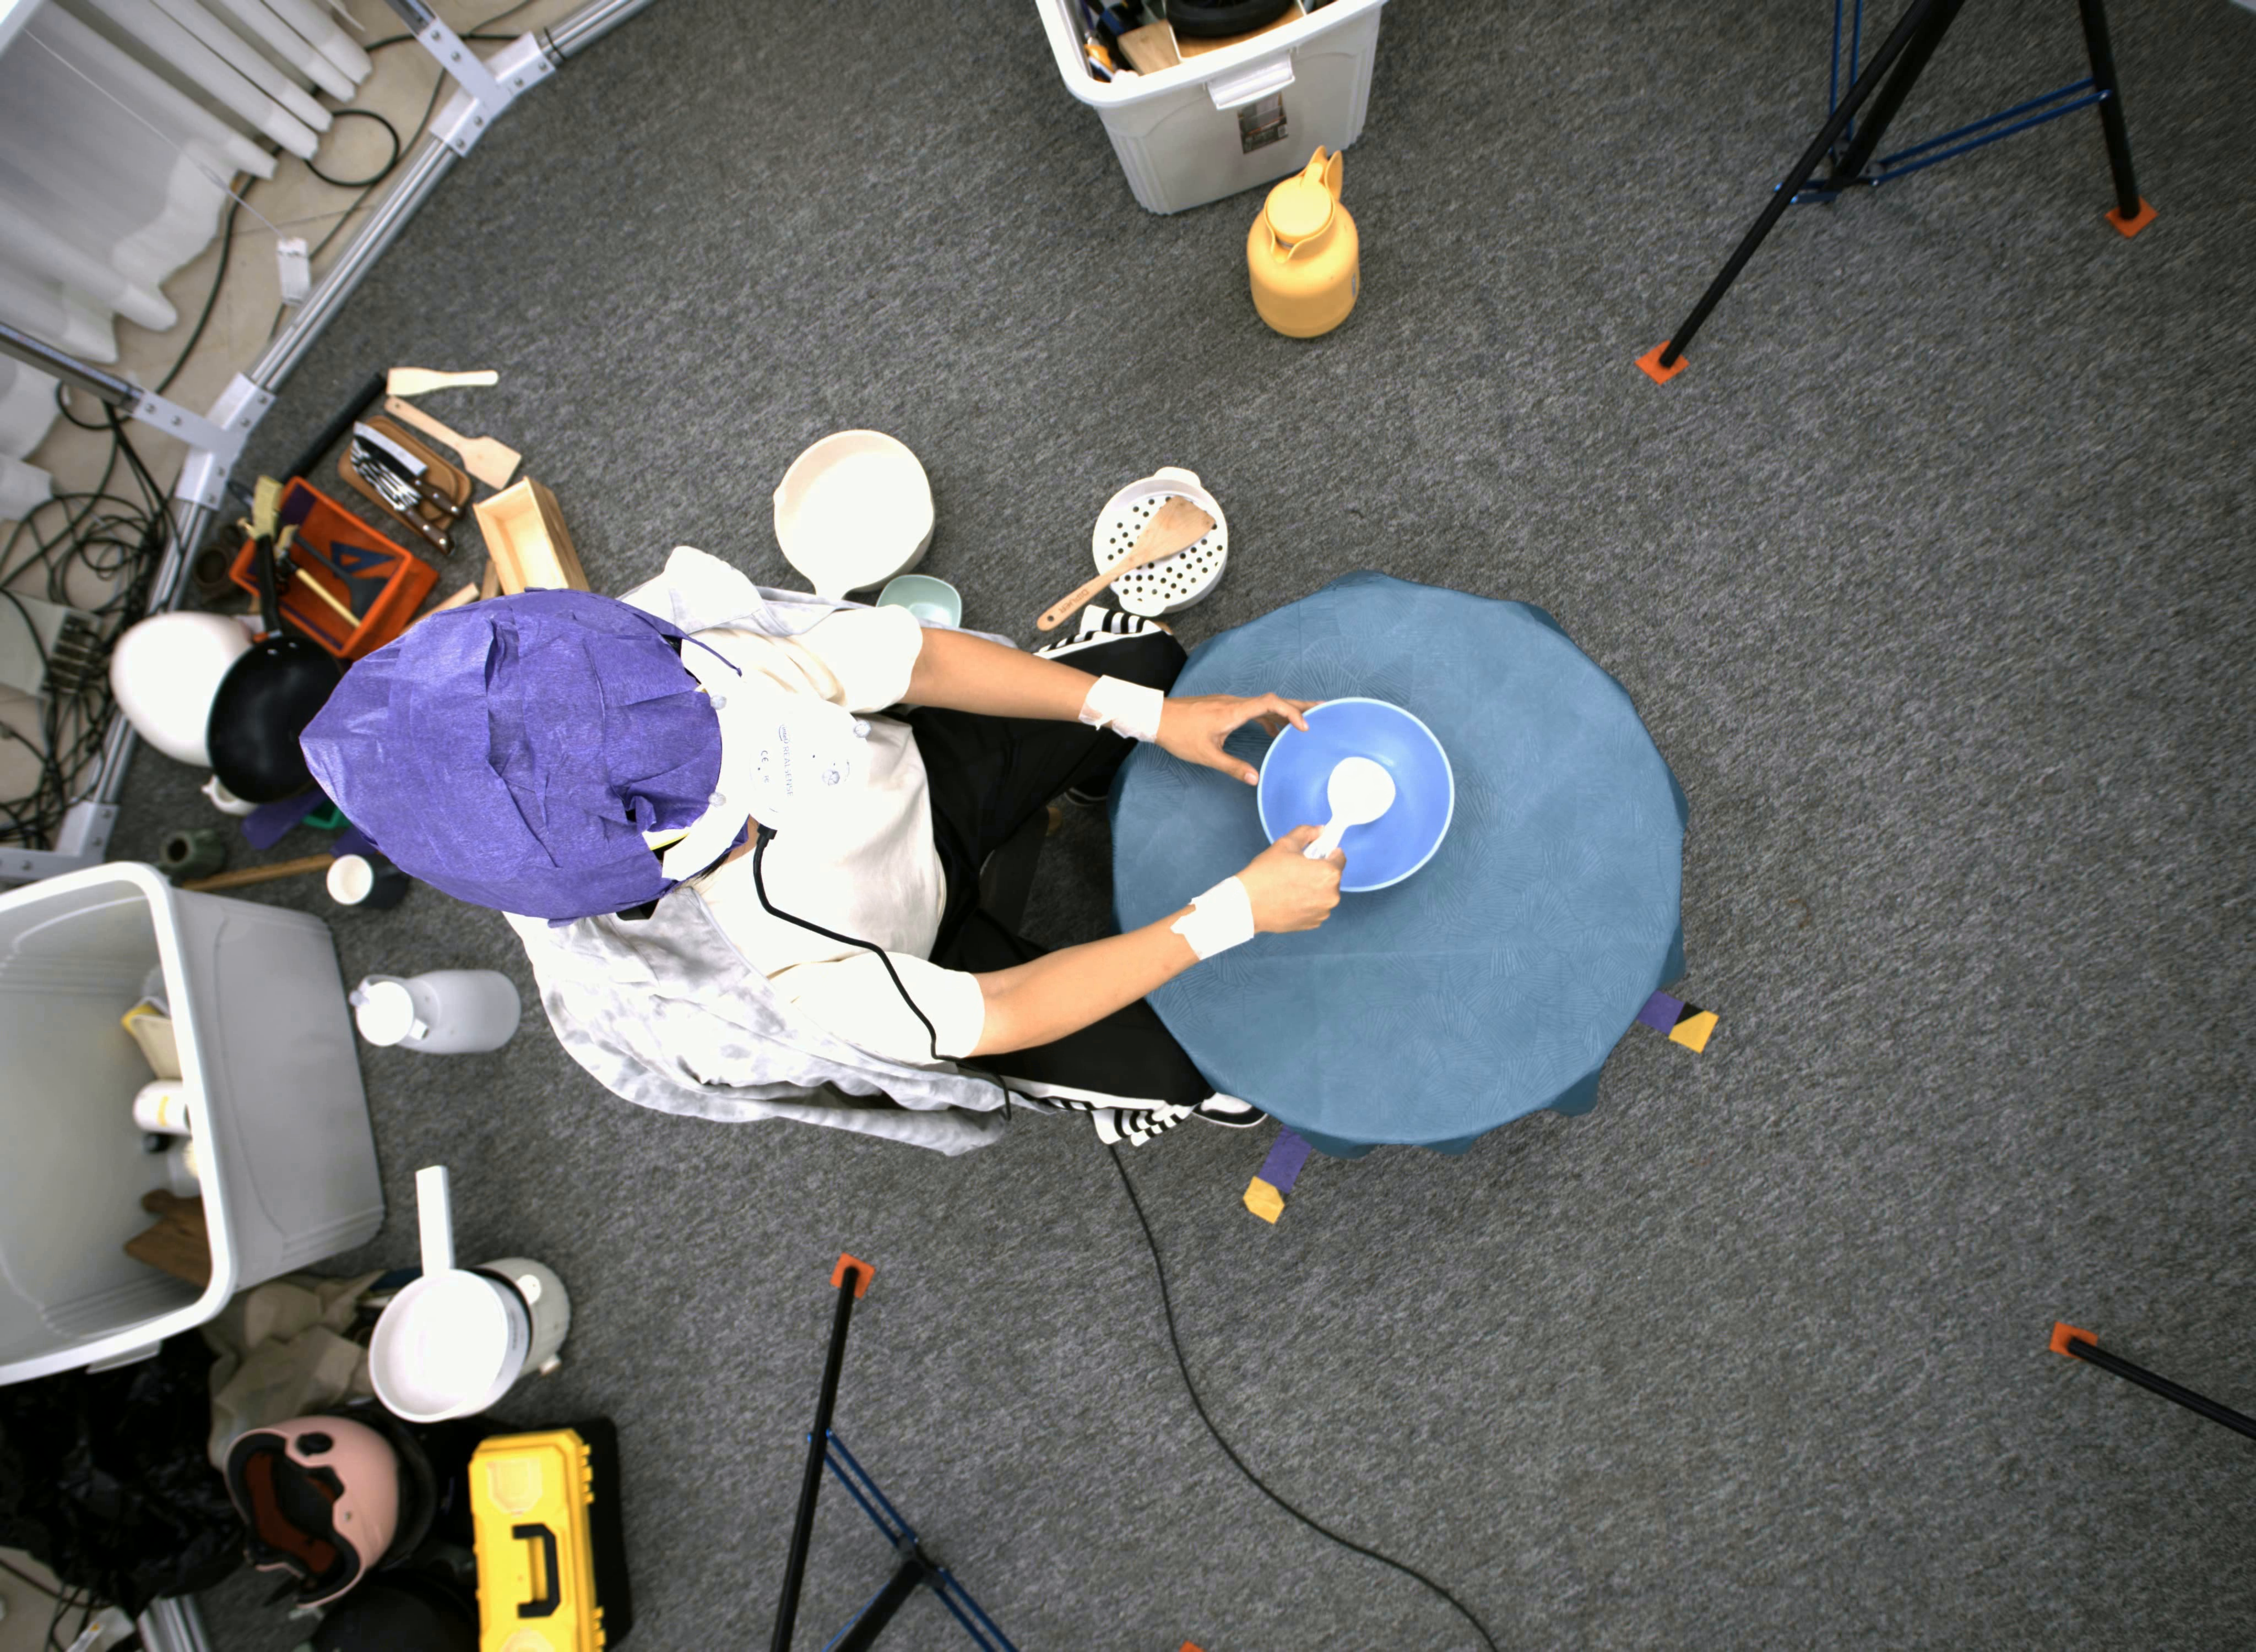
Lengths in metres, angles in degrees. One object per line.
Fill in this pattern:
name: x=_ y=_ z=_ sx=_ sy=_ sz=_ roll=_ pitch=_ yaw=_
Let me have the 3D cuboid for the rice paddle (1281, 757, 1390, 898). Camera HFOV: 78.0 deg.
rice paddle: x=0.208 y=-0.006 z=1.379 sx=0.069 sy=0.030 sz=0.200 roll=35 pitch=52 yaw=4

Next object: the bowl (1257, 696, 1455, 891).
bowl: x=0.233 y=-0.030 z=1.422 sx=0.197 sy=0.095 sz=0.196 roll=-1 pitch=87 yaw=9
